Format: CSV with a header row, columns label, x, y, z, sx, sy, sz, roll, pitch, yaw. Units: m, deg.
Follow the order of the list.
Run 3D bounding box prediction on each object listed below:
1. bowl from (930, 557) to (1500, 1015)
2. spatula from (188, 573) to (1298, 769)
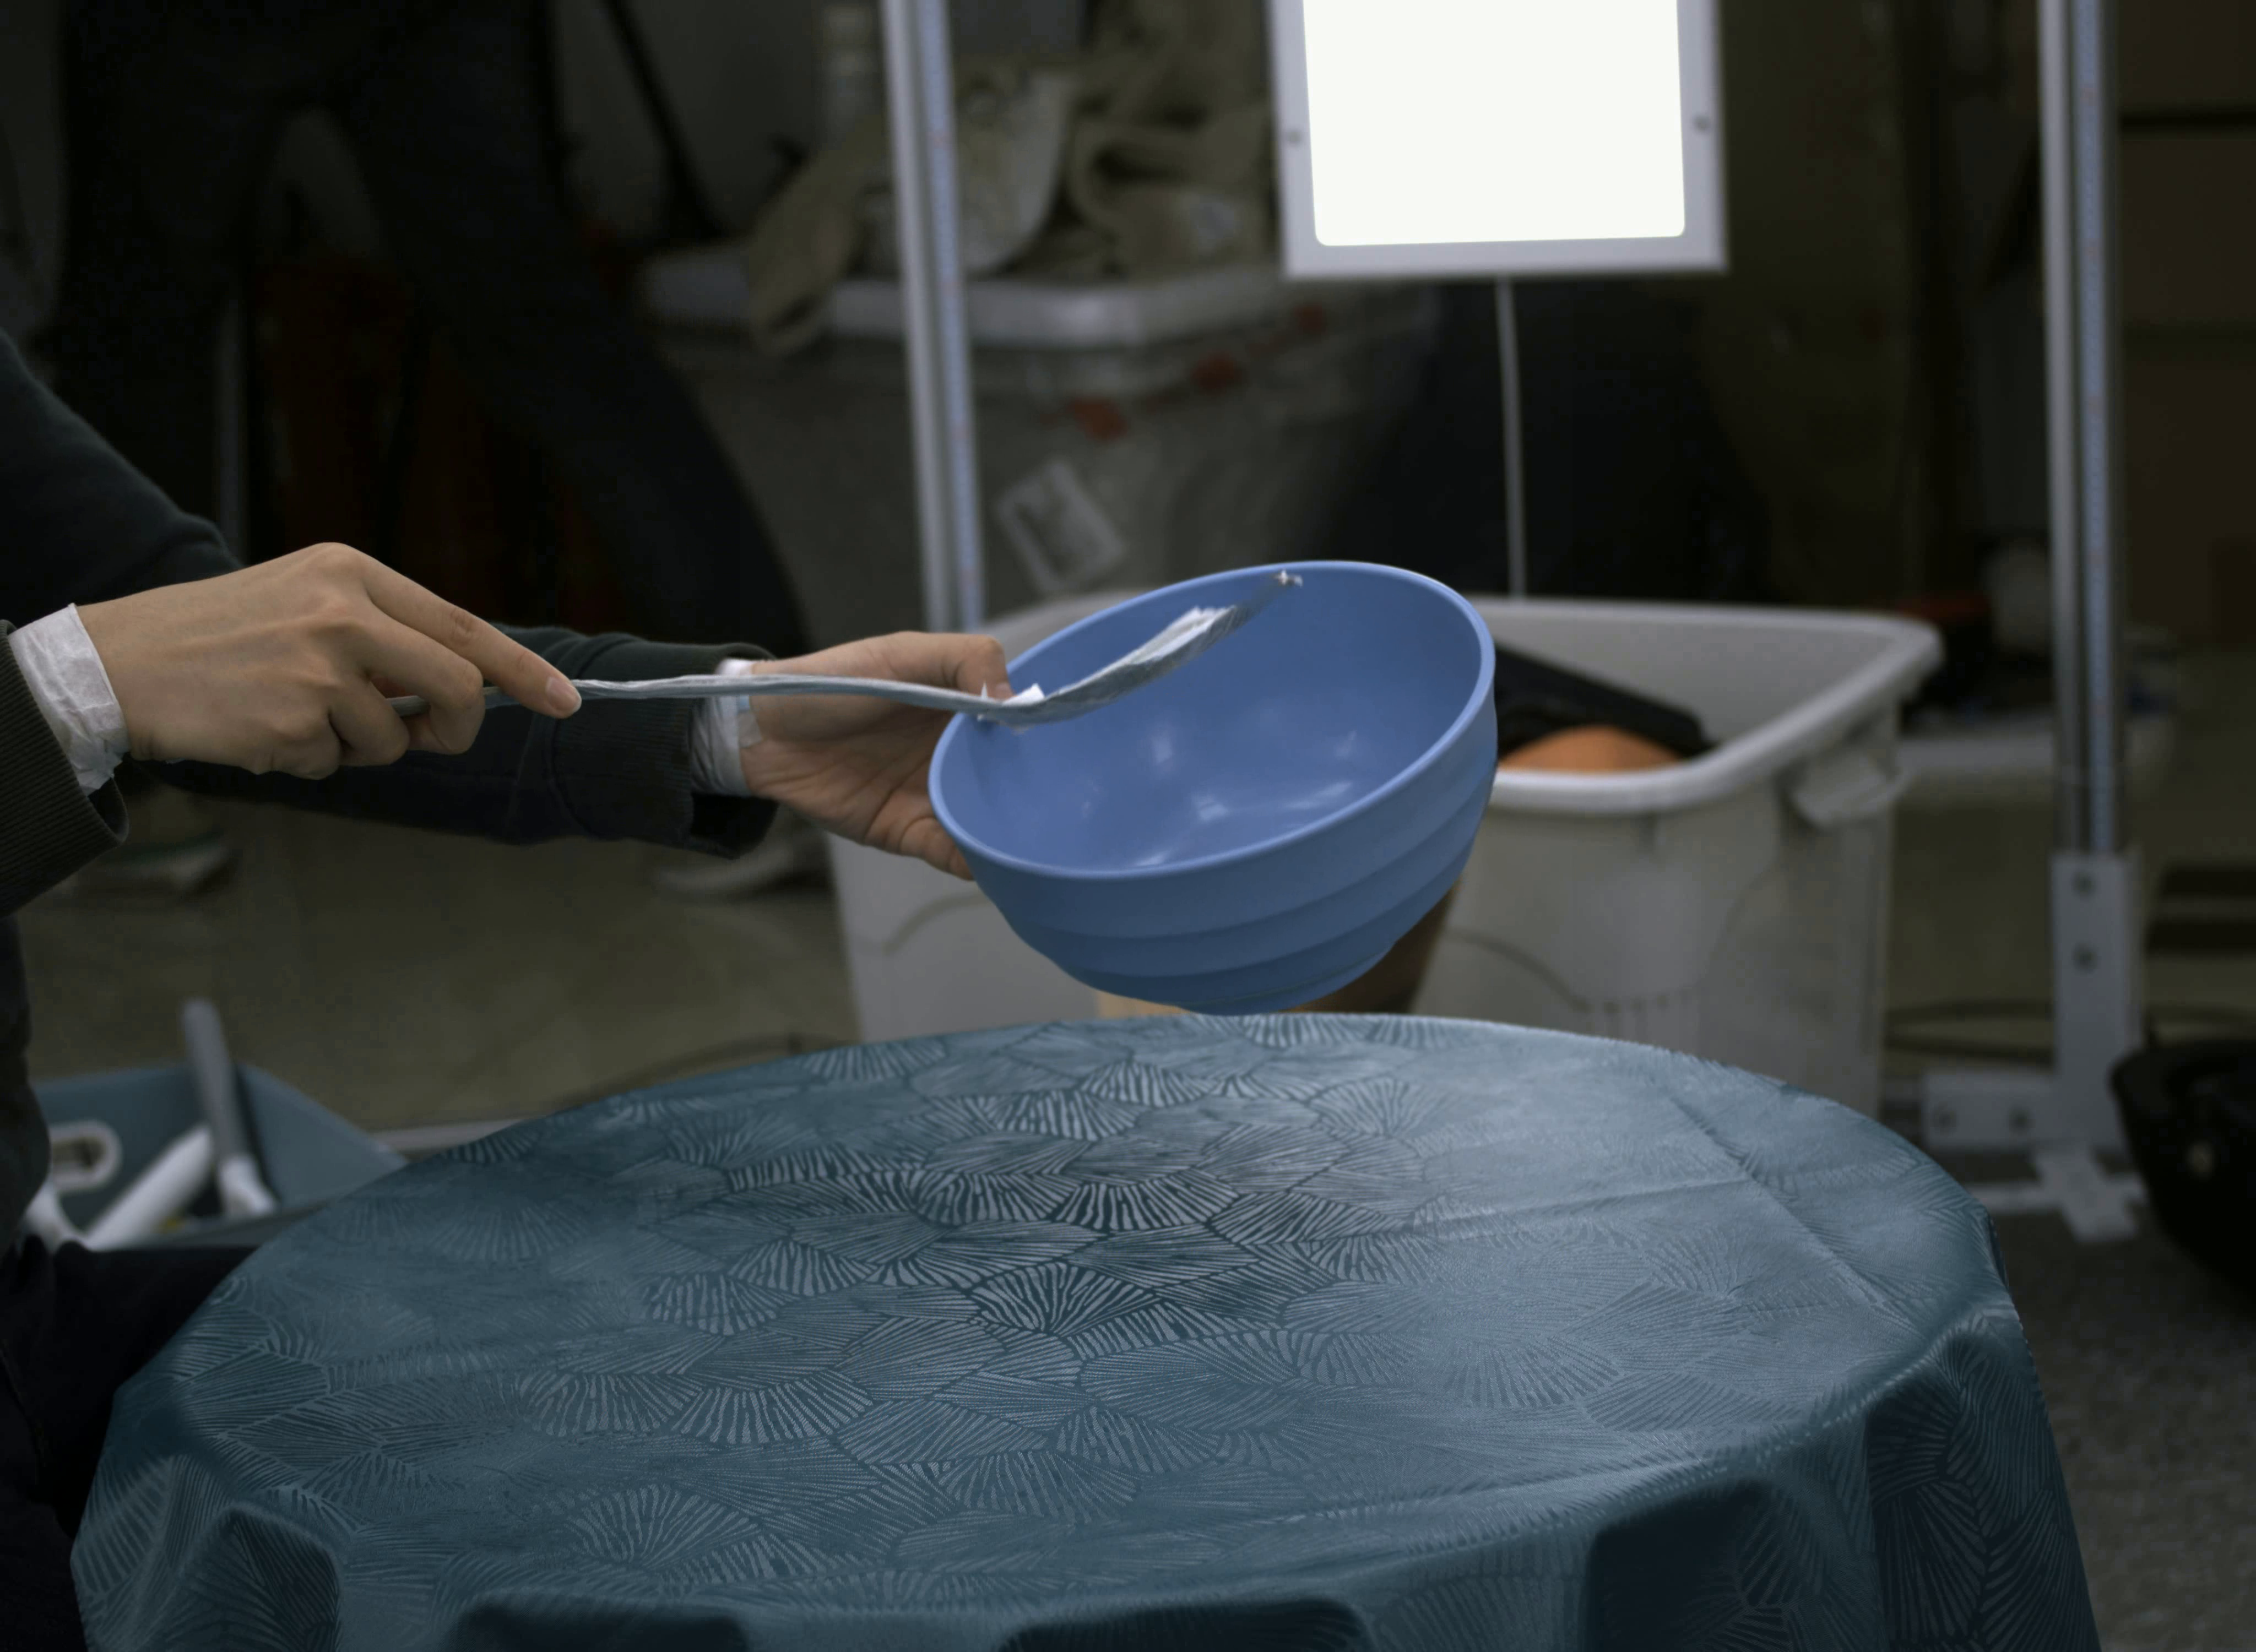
label,x,y,z,sx,sy,sz,roll,pitch,yaw
bowl,0.039,0.000,1.857,0.197,0.095,0.196,-13,30,6
spatula,-0.118,-0.048,1.749,0.358,0.045,0.100,-3,-6,-20
